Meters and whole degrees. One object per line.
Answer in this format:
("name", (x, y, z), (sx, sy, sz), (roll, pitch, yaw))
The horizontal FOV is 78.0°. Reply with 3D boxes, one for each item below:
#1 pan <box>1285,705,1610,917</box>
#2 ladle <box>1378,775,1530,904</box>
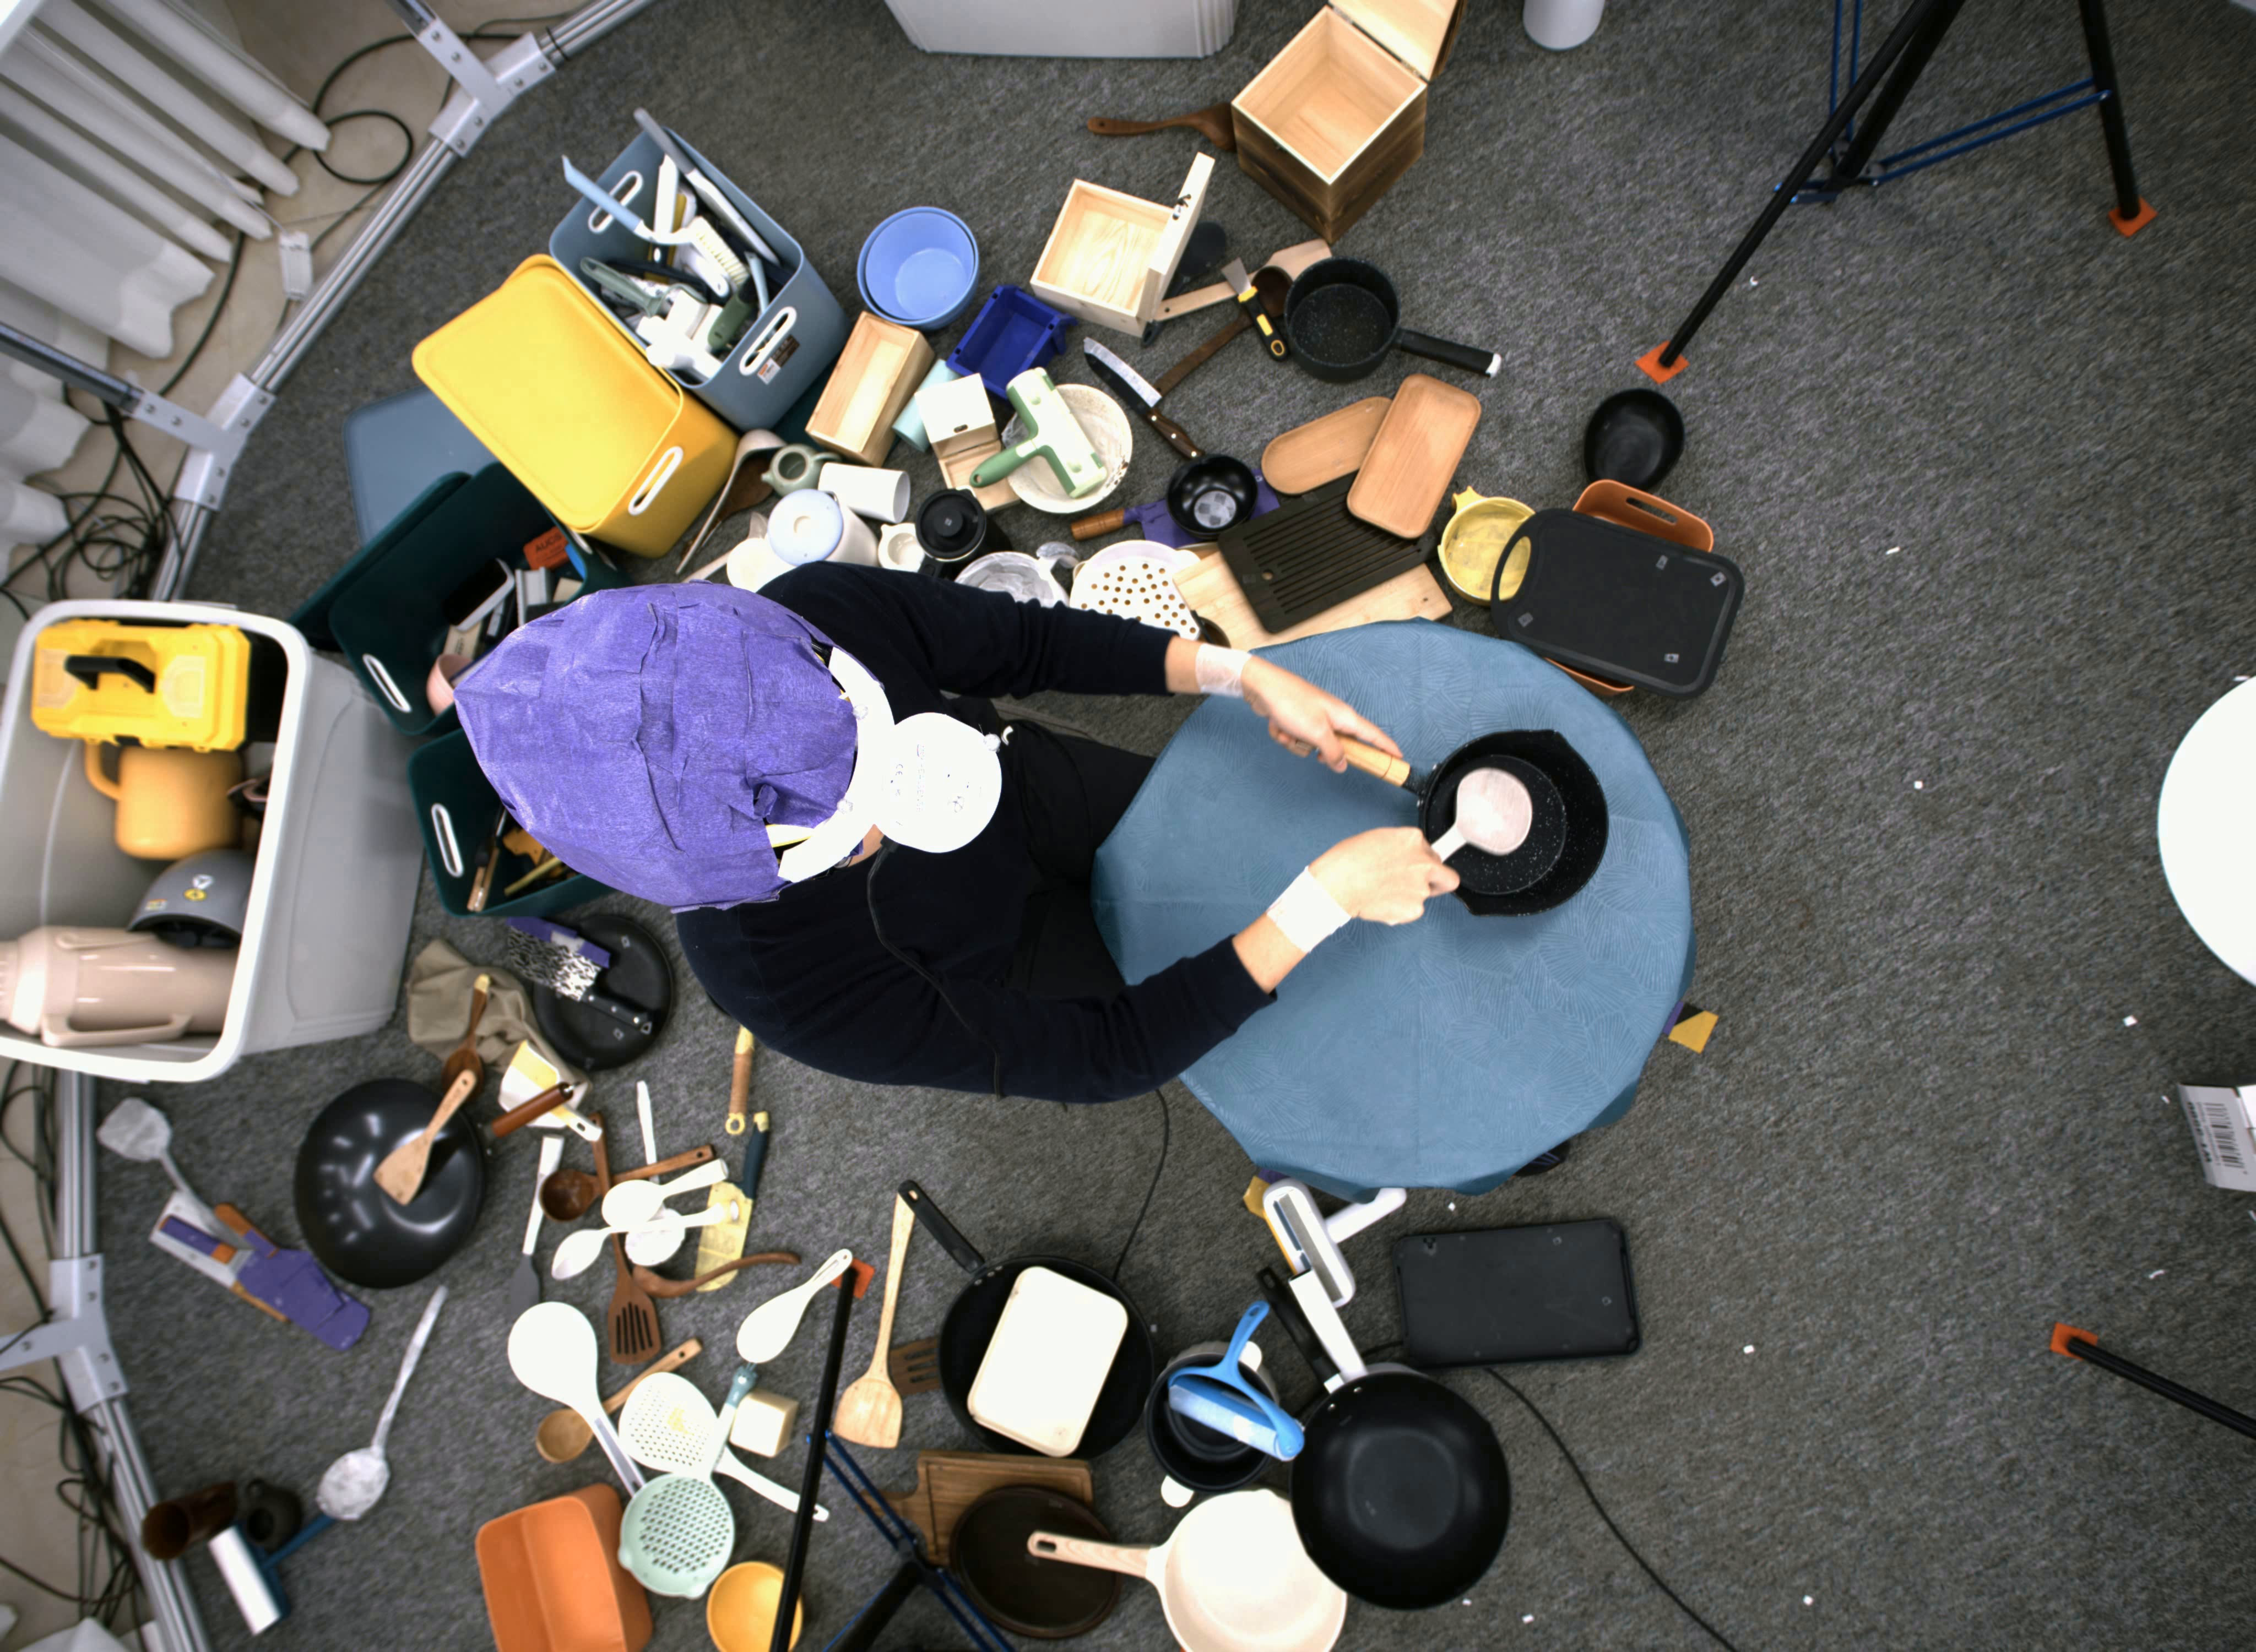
("pan", (0.310, -0.037, 1.380), (0.343, 0.108, 0.208), (23, 93, 0))
("ladle", (0.315, 0.016, 1.313), (0.070, 0.270, 0.089), (-24, 91, 34))
